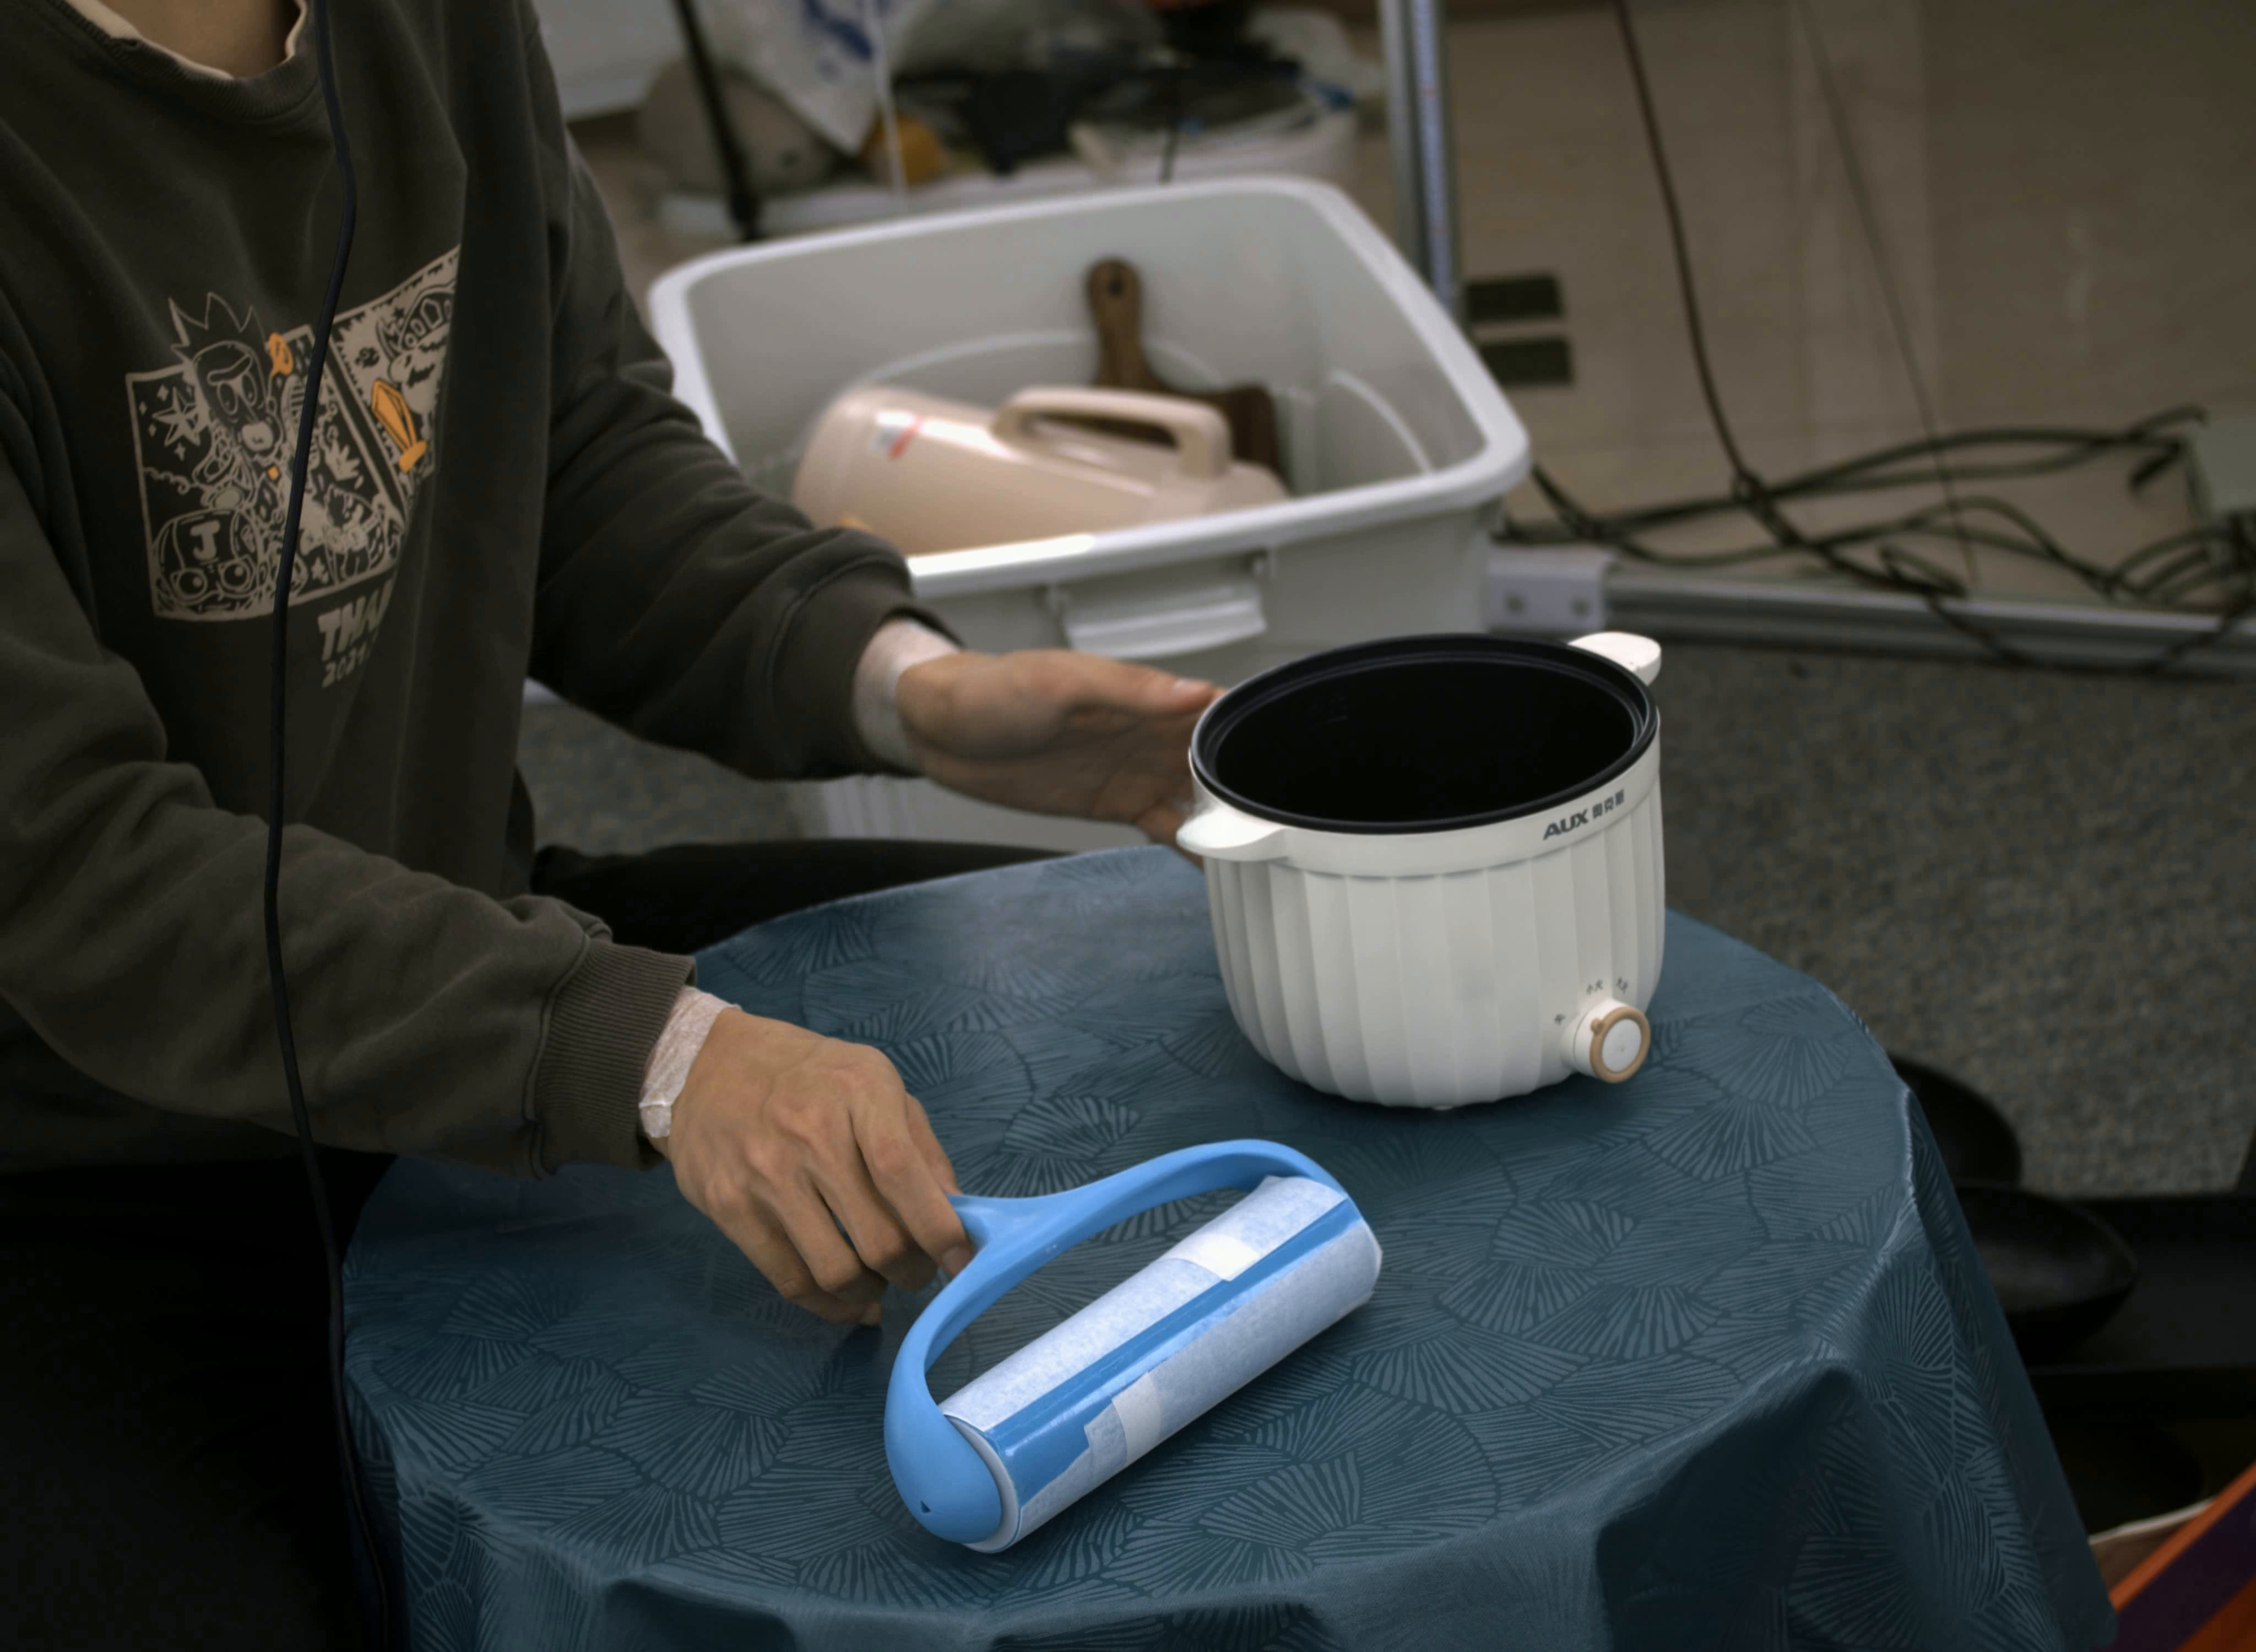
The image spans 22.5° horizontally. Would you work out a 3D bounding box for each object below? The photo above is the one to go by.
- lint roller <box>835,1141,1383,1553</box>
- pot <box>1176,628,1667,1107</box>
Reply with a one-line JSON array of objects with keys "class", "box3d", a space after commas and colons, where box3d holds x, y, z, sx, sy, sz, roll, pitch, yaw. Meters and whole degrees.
[{"class": "lint roller", "box3d": [-0.038, 0.167, 2.014, 0.179, 0.069, 0.226, 22, 39, 33]}, {"class": "pot", "box3d": [0.125, 0.021, 2.200, 0.238, 0.145, 0.189, -26, 28, -33]}]
